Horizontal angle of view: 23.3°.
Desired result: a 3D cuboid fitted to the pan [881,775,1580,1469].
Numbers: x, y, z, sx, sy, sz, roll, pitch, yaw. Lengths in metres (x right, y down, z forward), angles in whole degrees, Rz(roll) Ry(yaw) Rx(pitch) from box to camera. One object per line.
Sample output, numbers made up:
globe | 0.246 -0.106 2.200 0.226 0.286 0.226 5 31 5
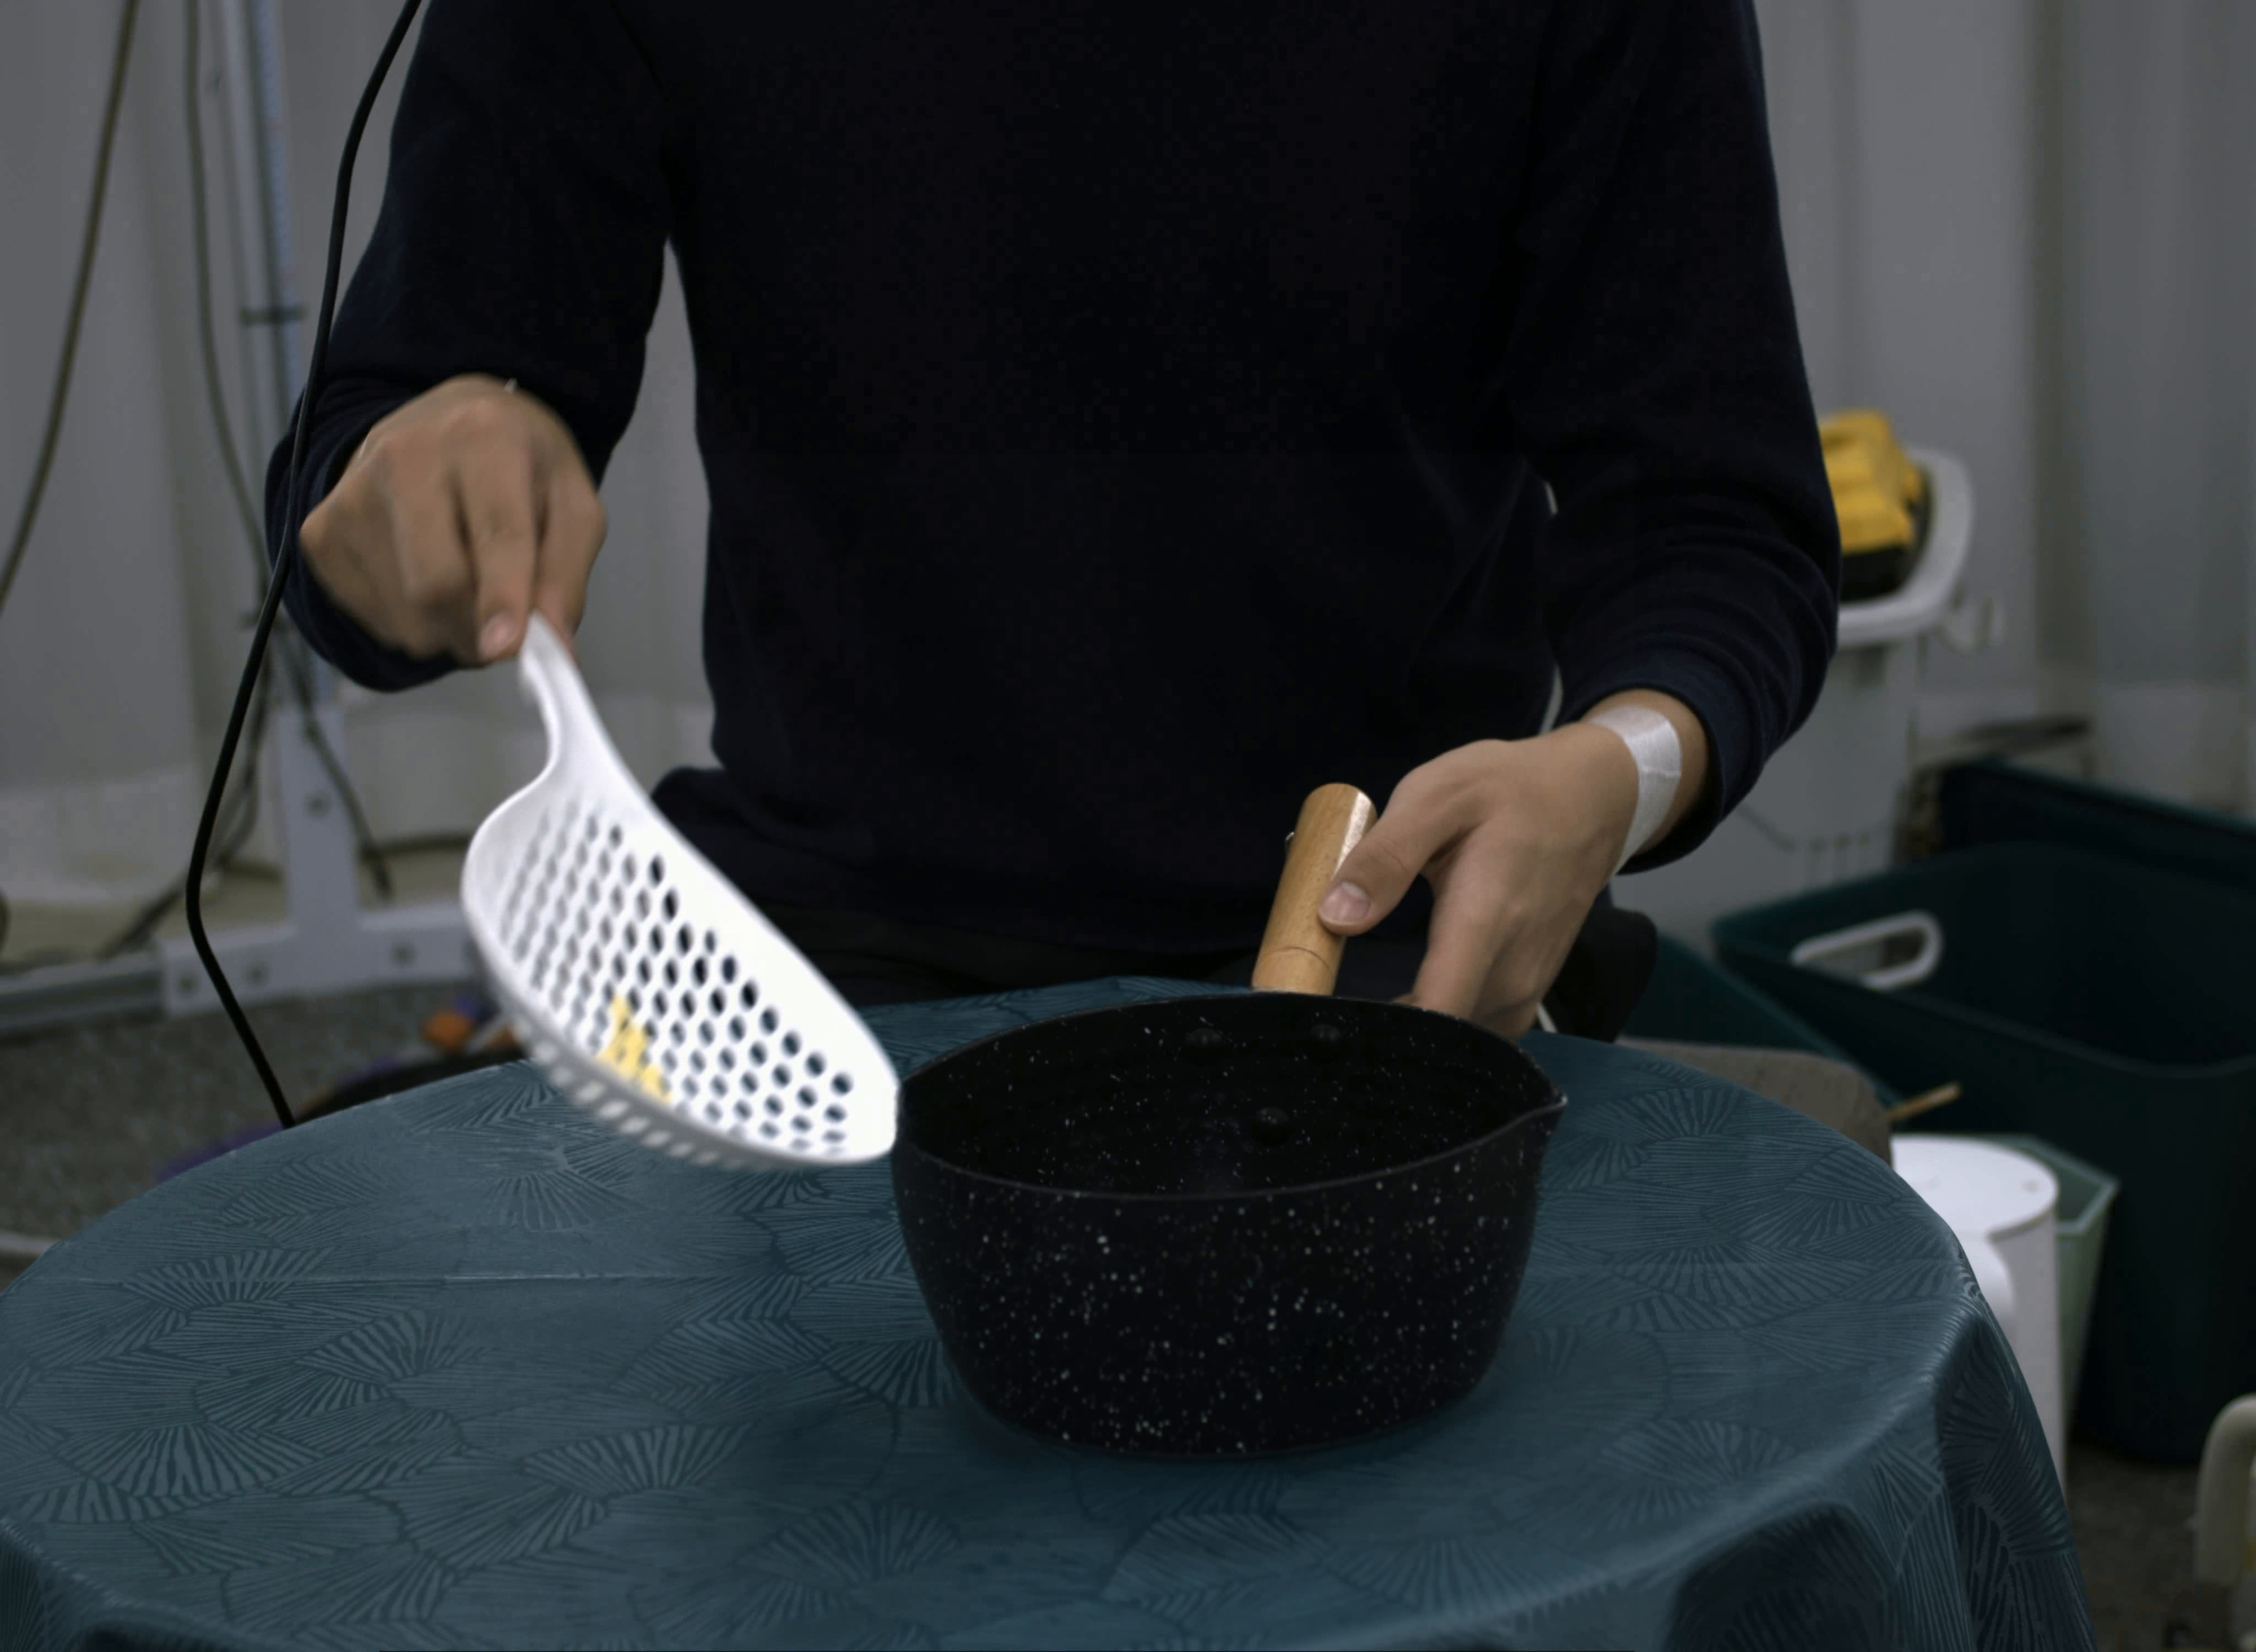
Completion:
pan | 0.039 0.082 1.622 0.207 0.108 0.345 -1 16 10

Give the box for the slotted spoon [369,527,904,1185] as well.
slotted spoon | -0.163 -0.002 1.569 0.135 0.050 0.353 19 28 -31
